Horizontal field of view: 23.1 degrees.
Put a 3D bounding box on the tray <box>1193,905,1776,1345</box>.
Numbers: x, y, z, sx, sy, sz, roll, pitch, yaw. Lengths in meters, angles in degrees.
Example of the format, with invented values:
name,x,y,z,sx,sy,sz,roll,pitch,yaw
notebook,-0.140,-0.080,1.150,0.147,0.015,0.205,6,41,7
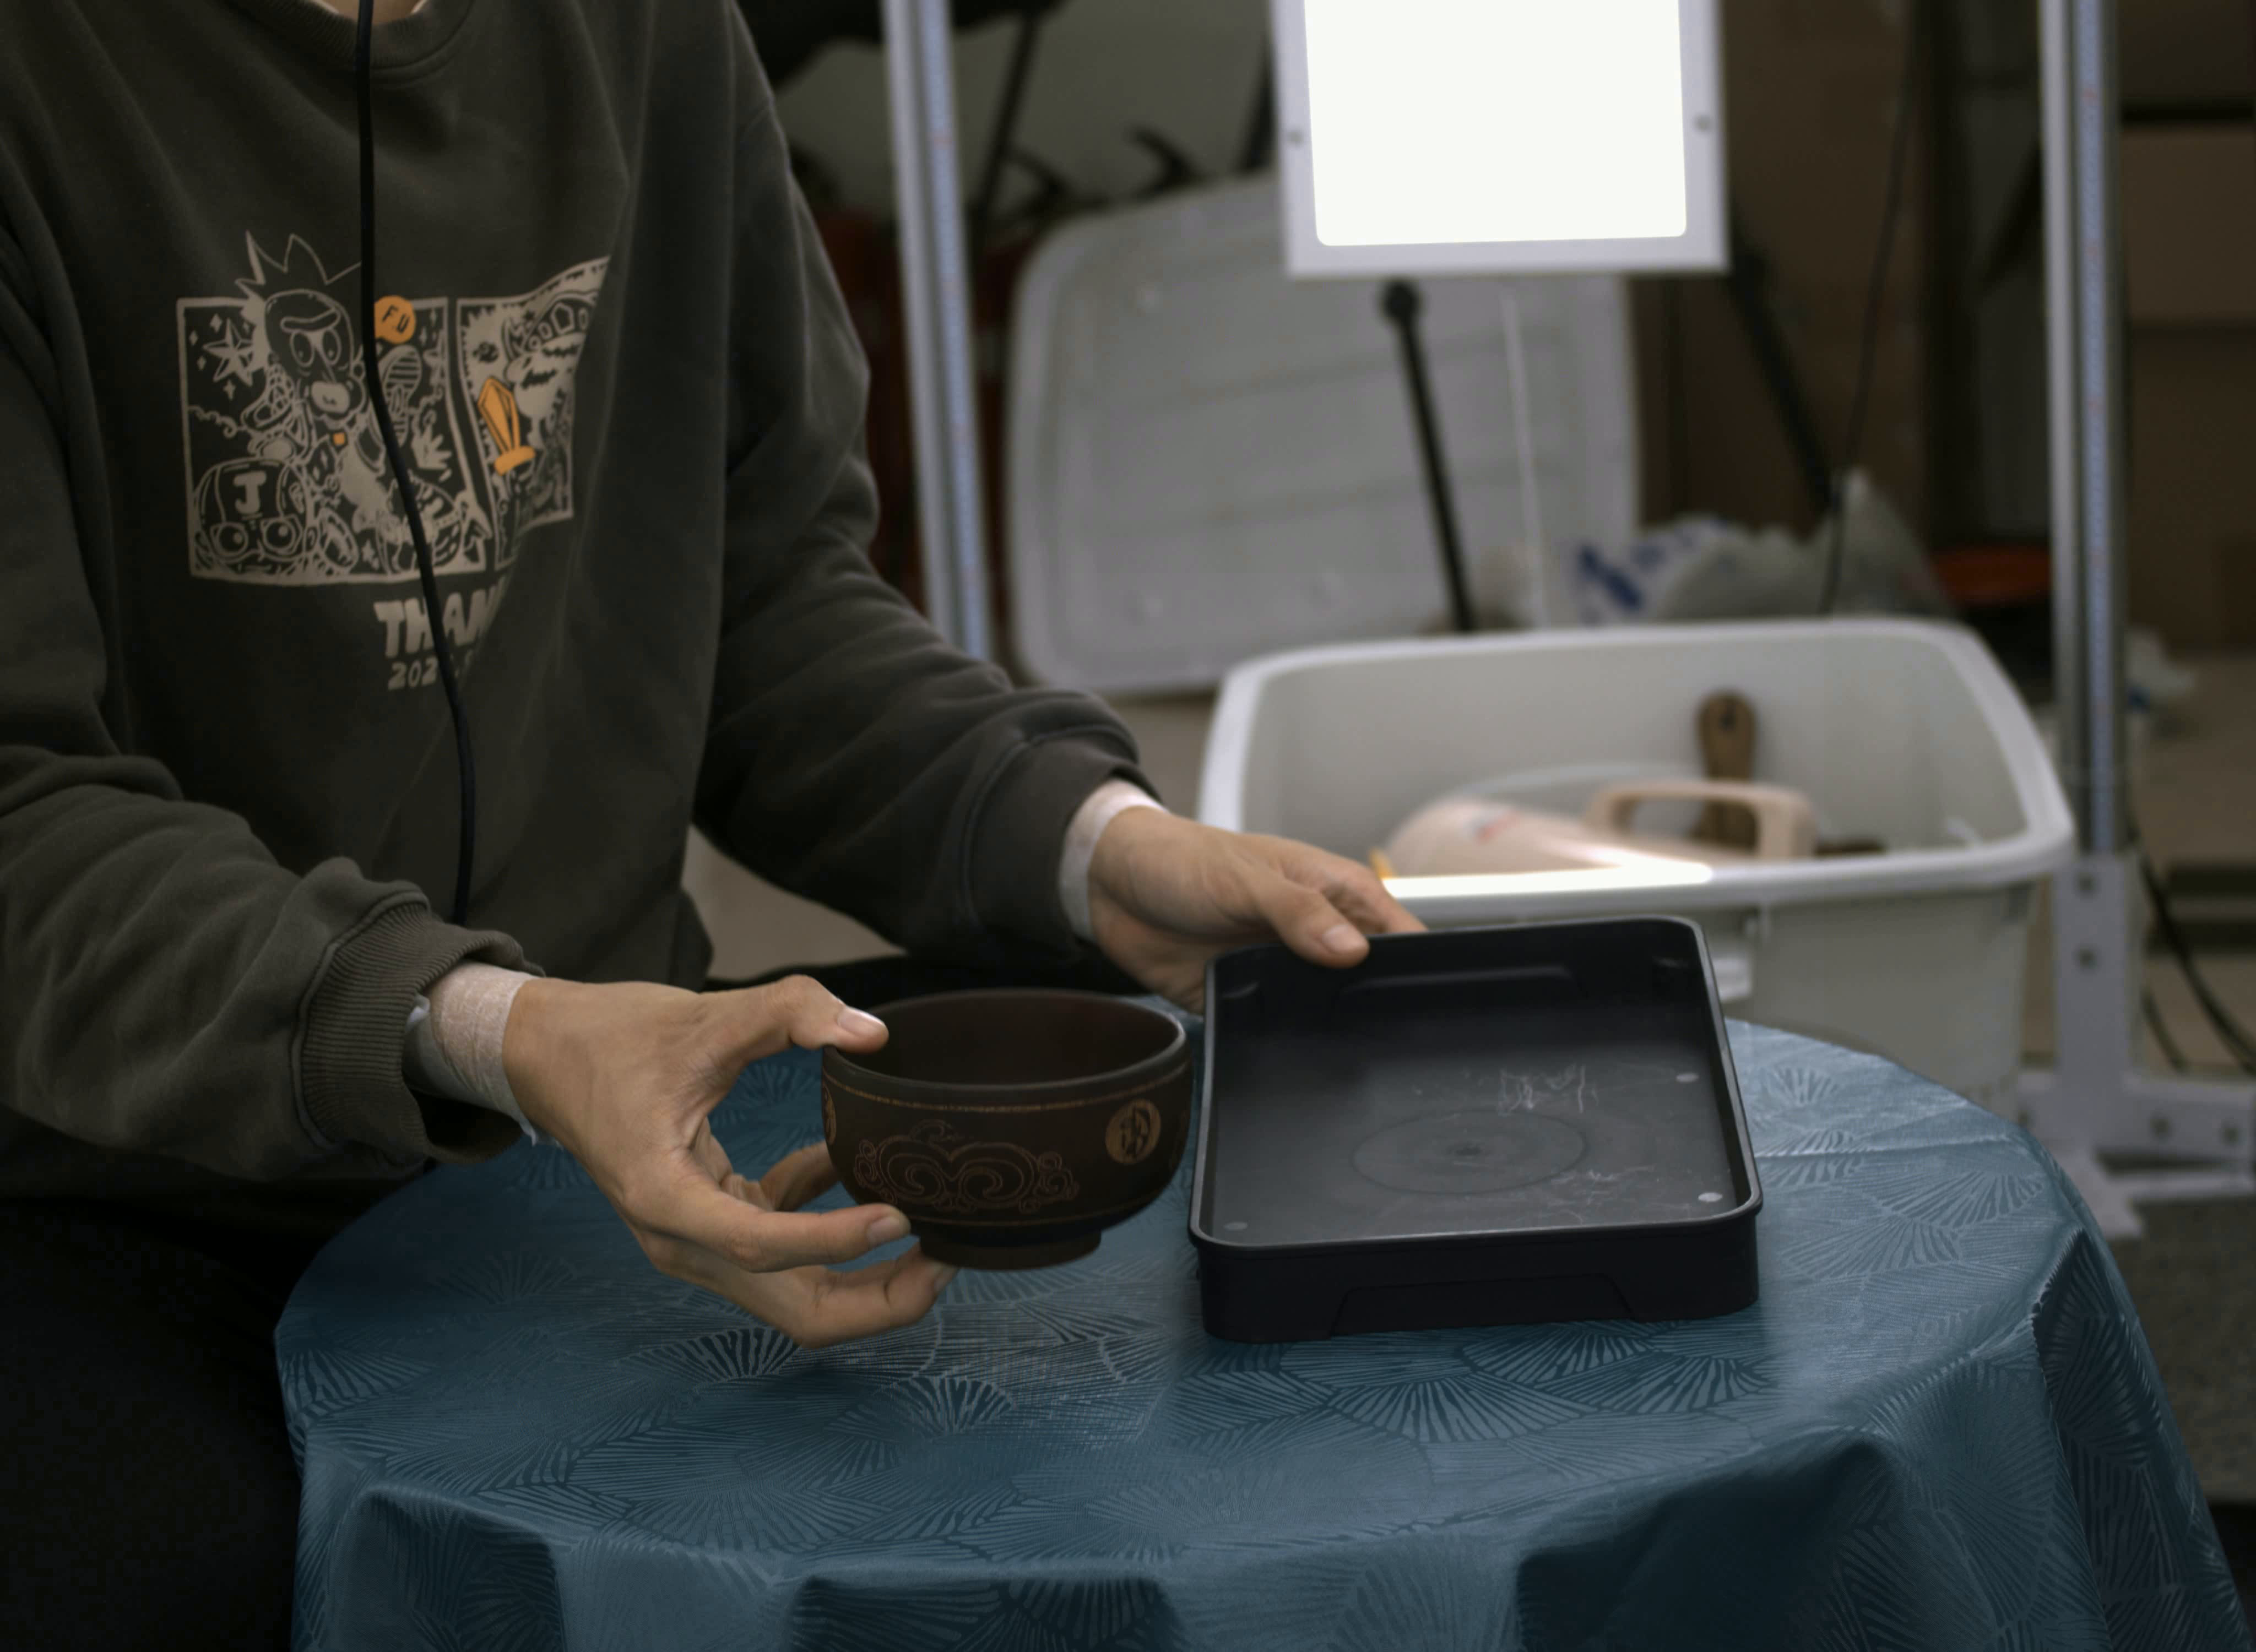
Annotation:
name,x,y,z,sx,sy,sz,roll,pitch,yaw
tray,0.116,0.097,1.874,0.184,0.037,0.317,-6,17,3

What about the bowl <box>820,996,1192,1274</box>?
name,x,y,z,sx,sy,sz,roll,pitch,yaw
bowl,-0.038,0.100,1.732,0.117,0.070,0.118,-2,12,-1
